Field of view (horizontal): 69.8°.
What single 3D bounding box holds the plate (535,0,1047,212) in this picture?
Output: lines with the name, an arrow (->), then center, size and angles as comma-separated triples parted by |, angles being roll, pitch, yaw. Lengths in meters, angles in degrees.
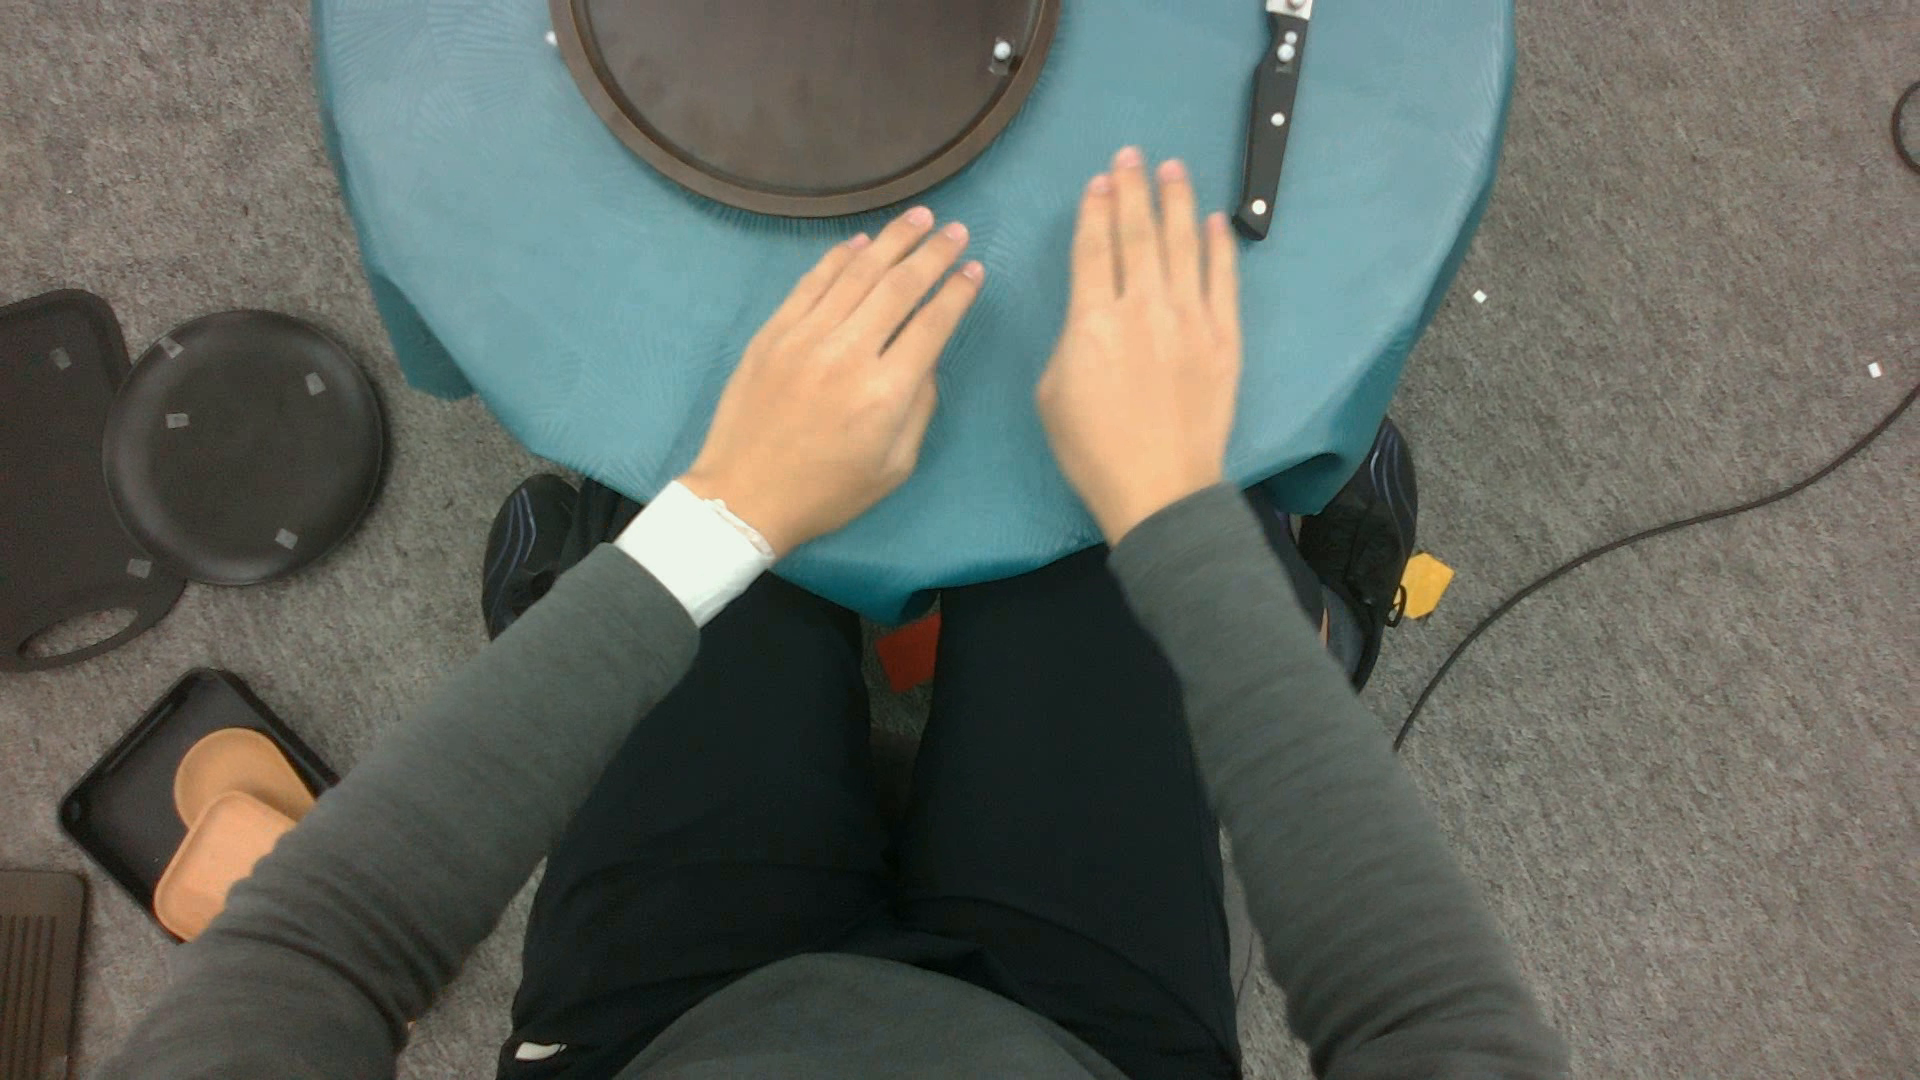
plate -> -0.082, -0.284, 0.681 | 0.255, 0.029, 0.255 | 0, 84, -1

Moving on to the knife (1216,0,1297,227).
knife -> 0.157, -0.270, 0.691 | 0.024, 0.016, 0.238 | 10, 83, 5
